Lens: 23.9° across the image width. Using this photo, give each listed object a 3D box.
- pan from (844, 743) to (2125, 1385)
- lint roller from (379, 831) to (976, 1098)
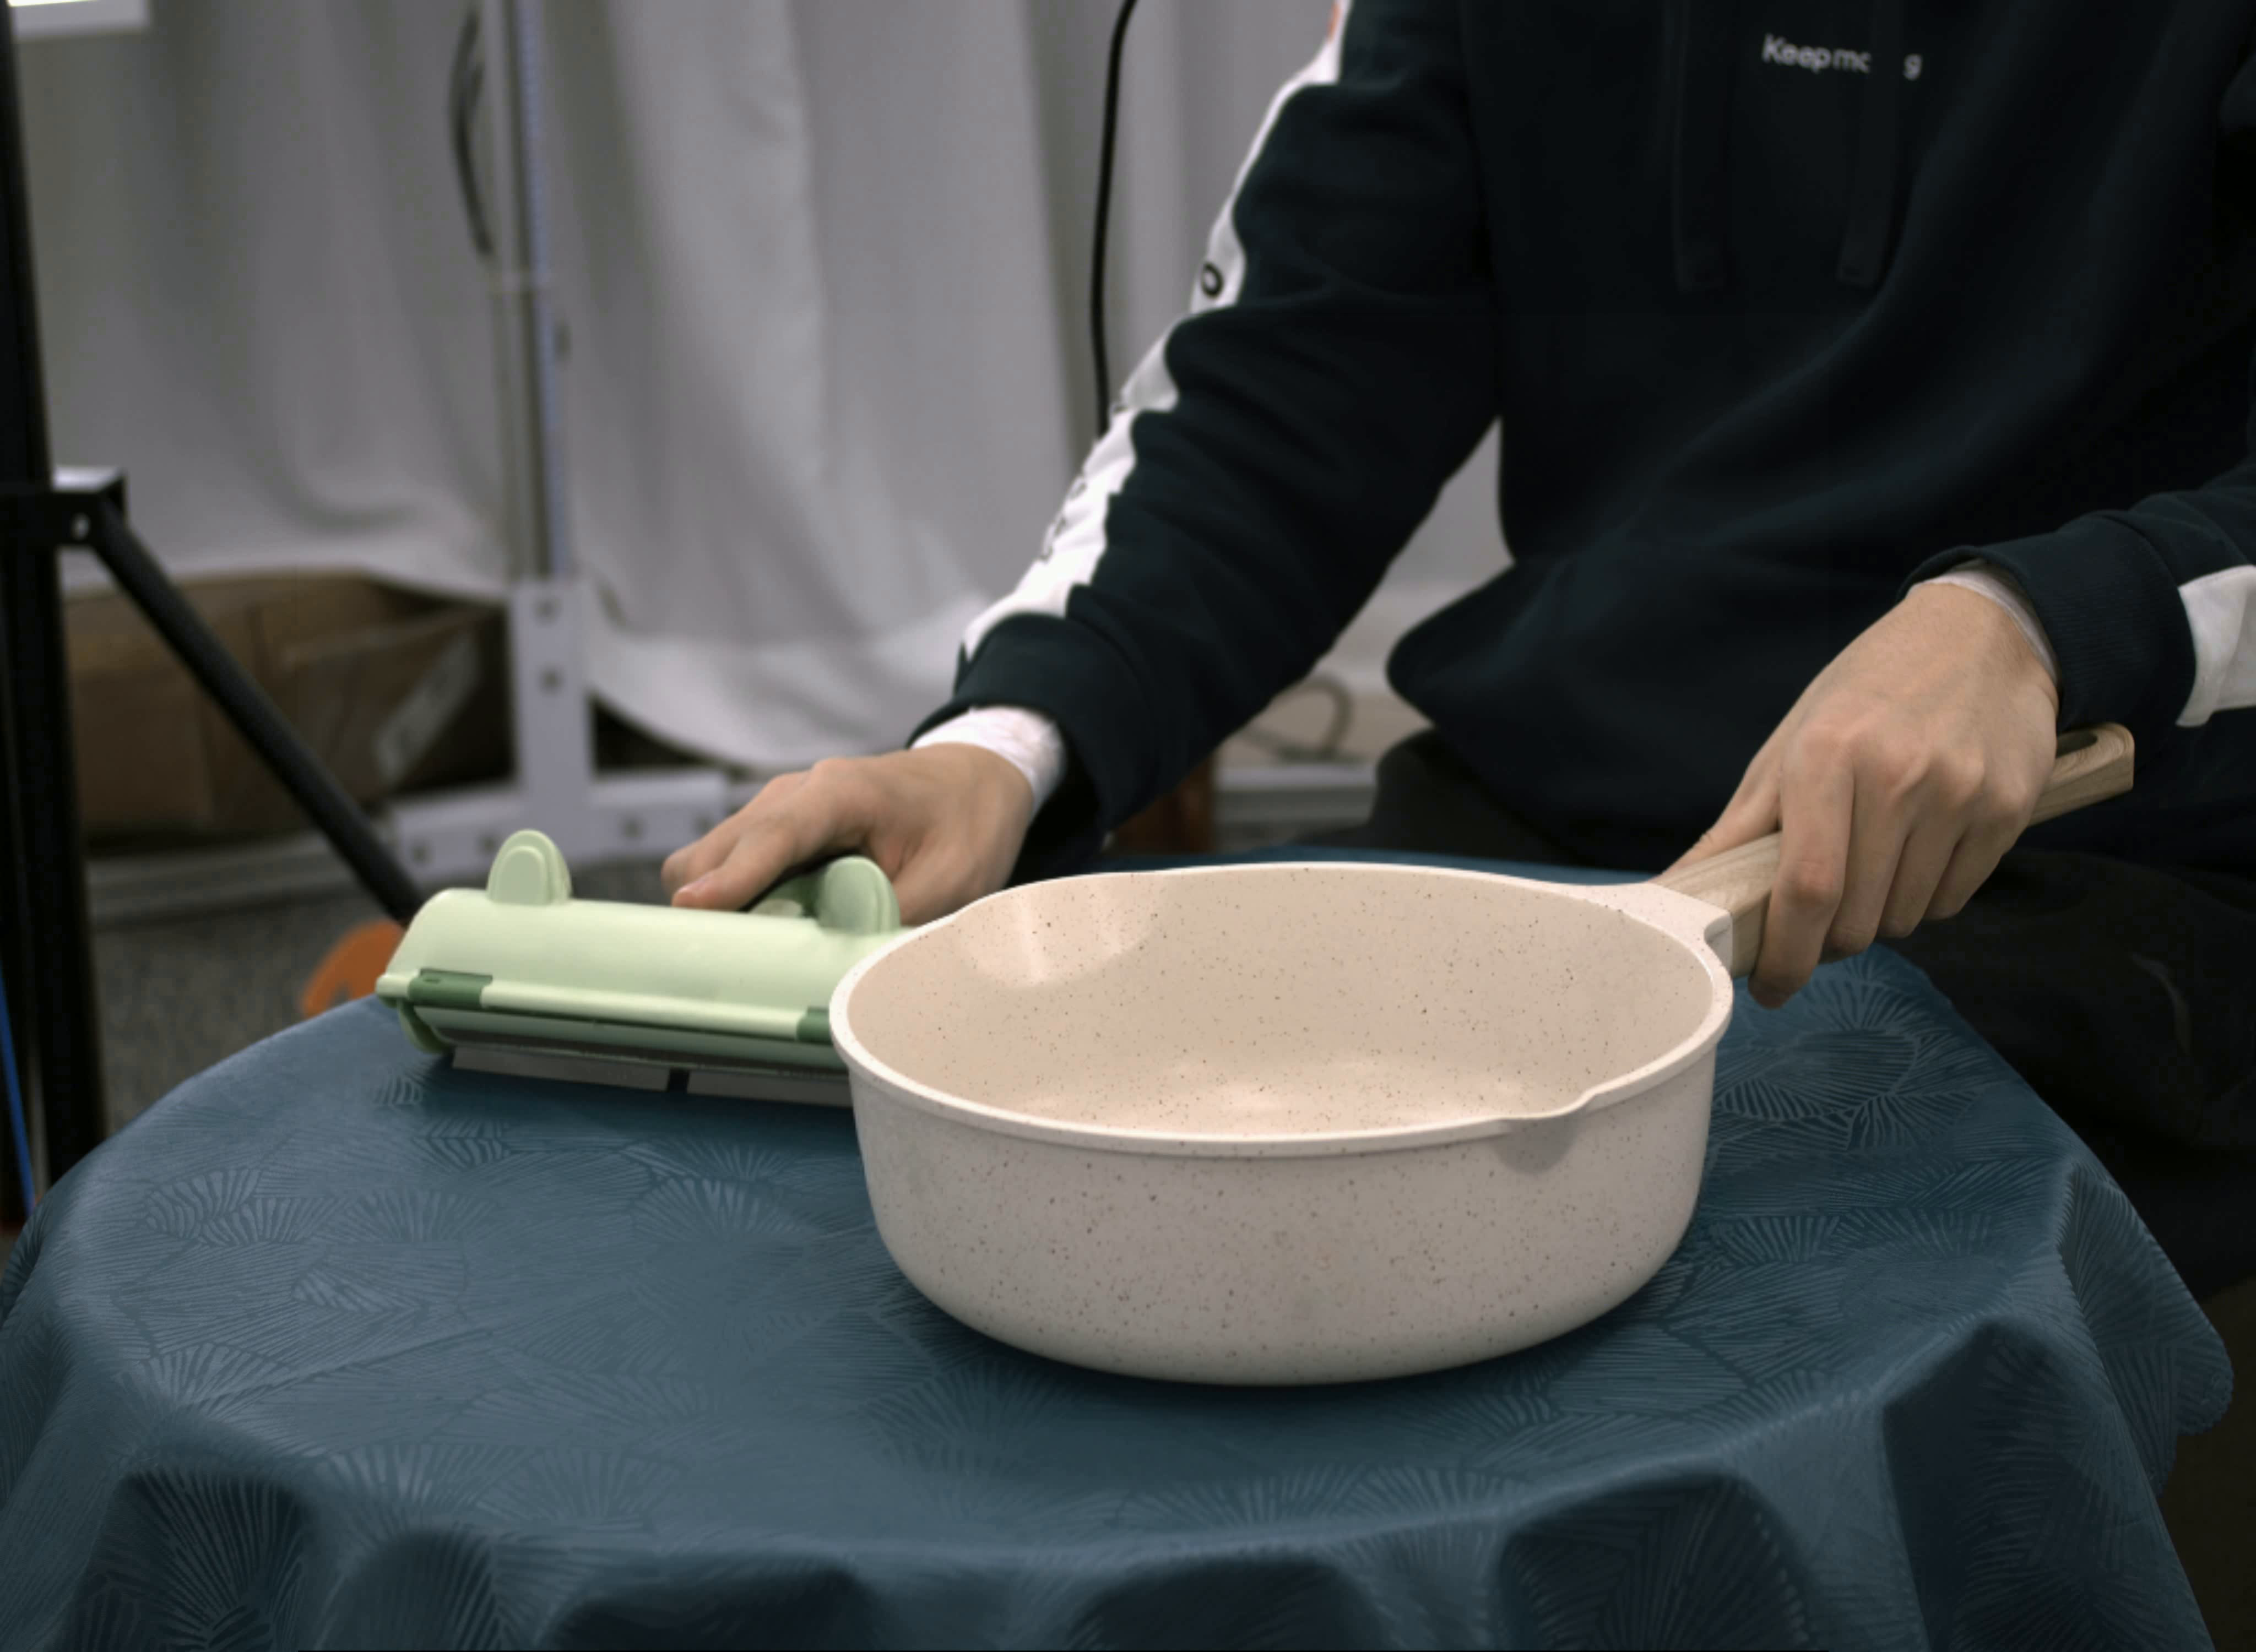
[{"bbox_3d":[0.124,0.062,1.517,0.425,0.102,0.269,-11,16,-30],"label":"pan"},{"bbox_3d":[-0.116,0.024,1.716,0.201,0.082,0.181,3,25,25],"label":"lint roller"}]
